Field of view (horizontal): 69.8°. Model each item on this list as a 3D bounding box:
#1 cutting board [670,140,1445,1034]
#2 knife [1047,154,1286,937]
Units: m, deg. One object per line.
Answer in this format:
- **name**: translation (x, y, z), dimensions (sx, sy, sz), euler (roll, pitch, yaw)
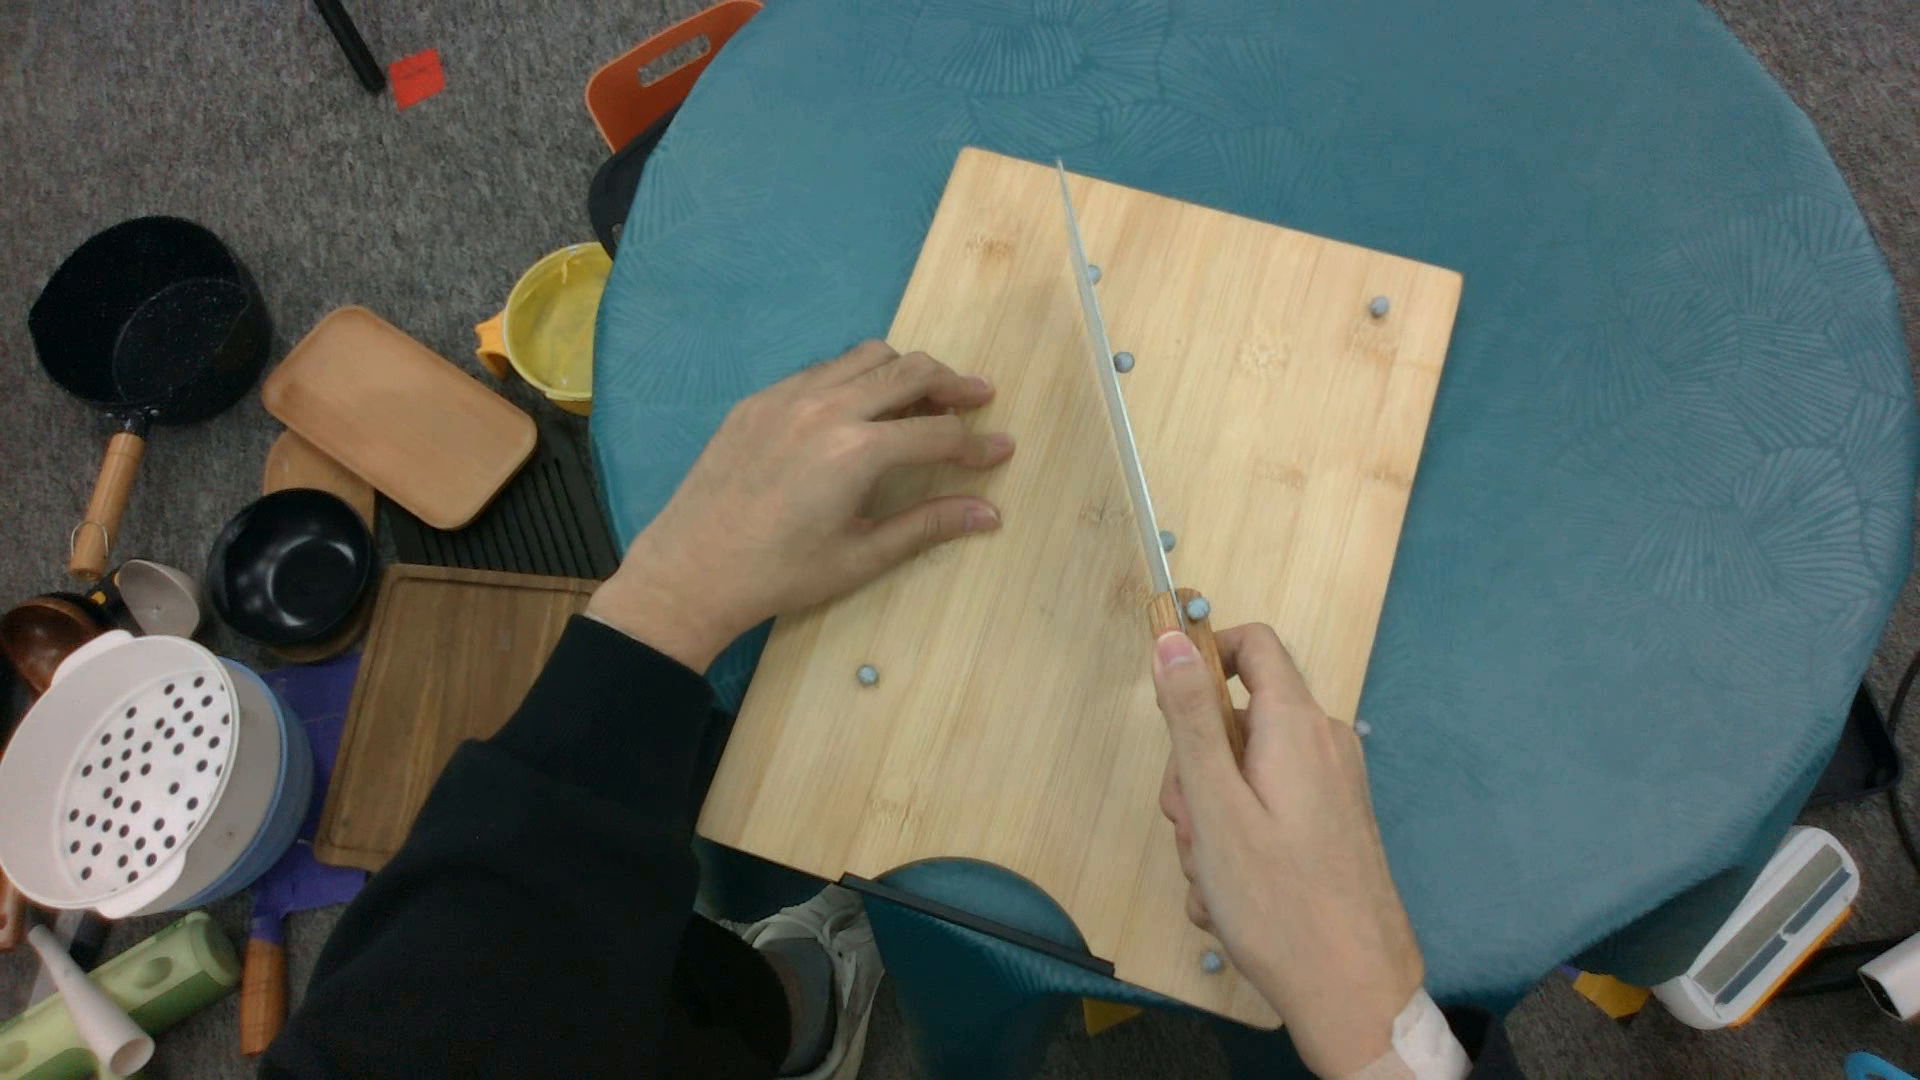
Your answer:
- **cutting board**: translation (0.053, 0.001, 0.594), dimensions (0.250, 0.023, 0.350), euler (15, 71, 7)
- **knife**: translation (0.071, -0.002, 0.531), dimensions (0.021, 0.093, 0.306), euler (-14, 71, 3)
